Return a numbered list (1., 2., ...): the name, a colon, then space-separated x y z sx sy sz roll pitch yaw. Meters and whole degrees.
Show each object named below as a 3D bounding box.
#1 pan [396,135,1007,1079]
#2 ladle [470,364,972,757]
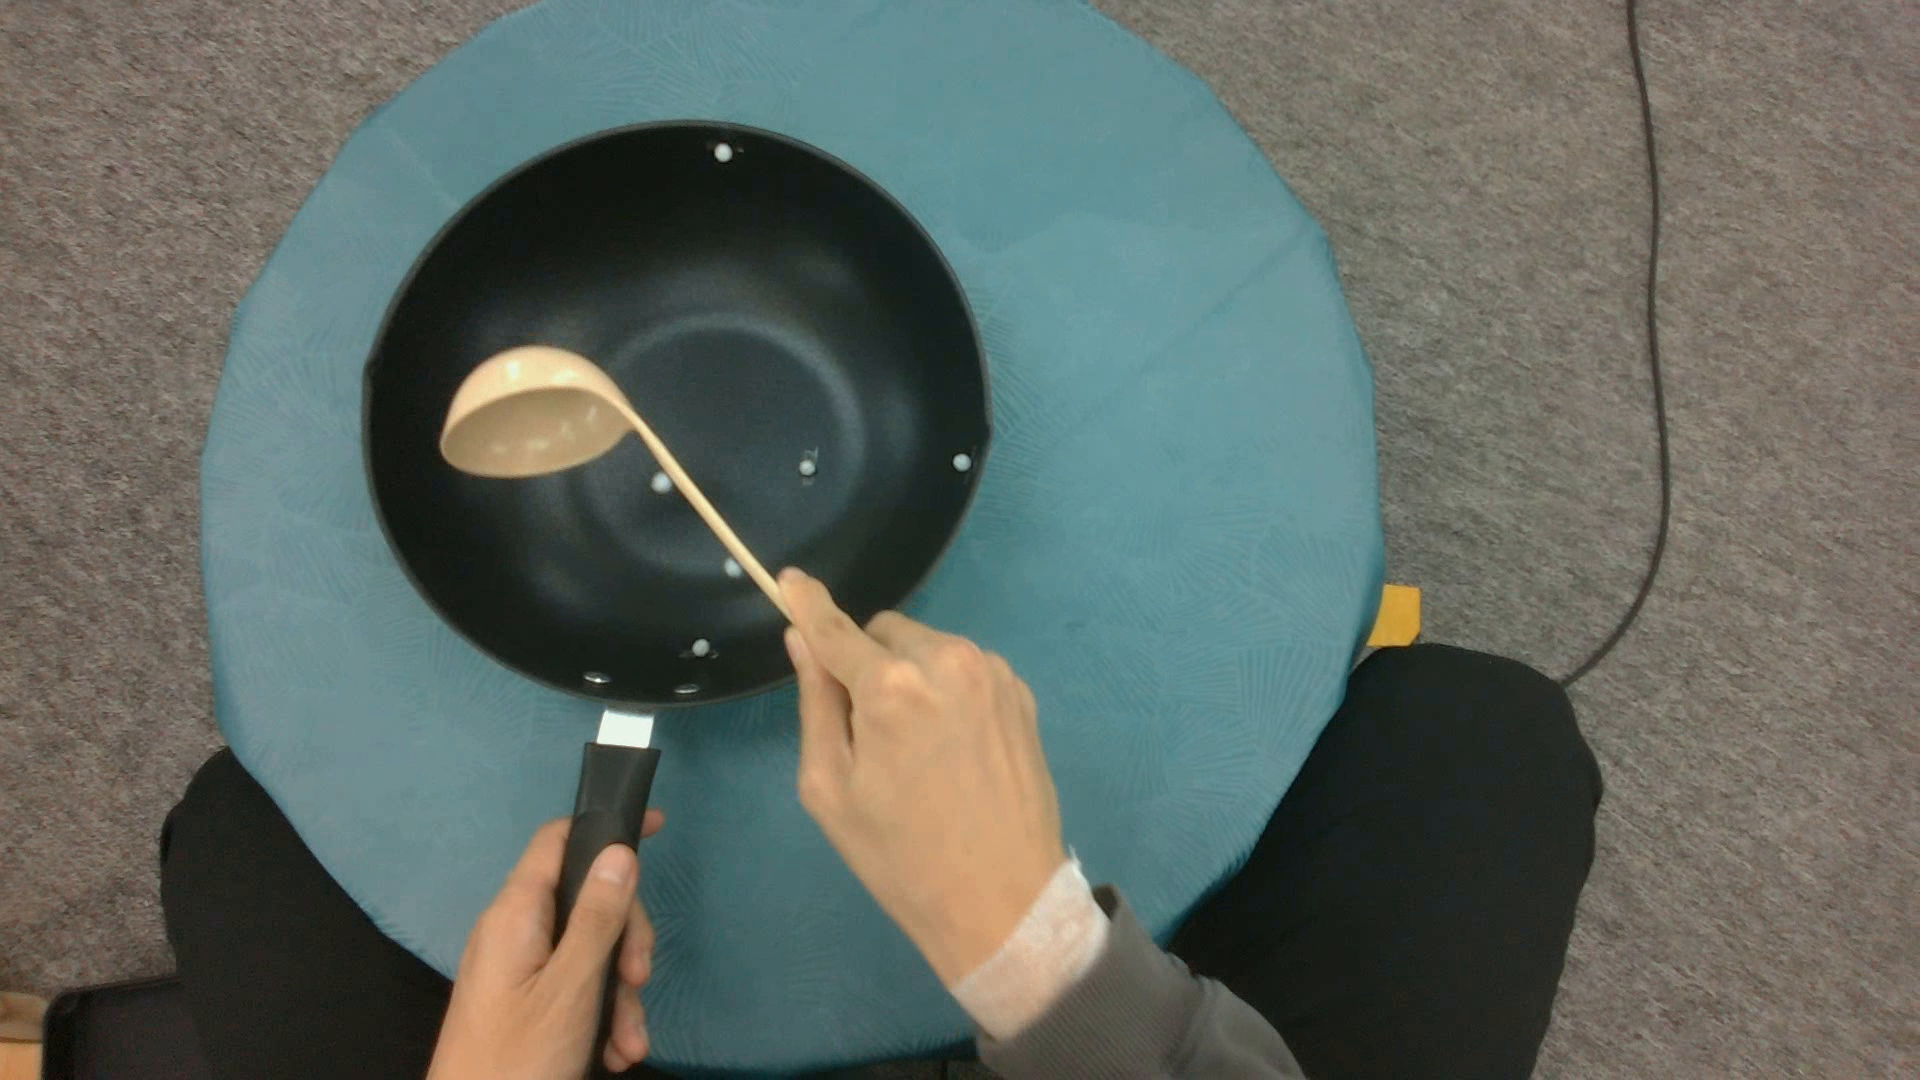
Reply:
1. pan: -0.132 0.037 0.658 0.288 0.086 0.464 7 78 2
2. ladle: -0.106 0.021 0.555 0.073 0.072 0.254 -41 66 -11
